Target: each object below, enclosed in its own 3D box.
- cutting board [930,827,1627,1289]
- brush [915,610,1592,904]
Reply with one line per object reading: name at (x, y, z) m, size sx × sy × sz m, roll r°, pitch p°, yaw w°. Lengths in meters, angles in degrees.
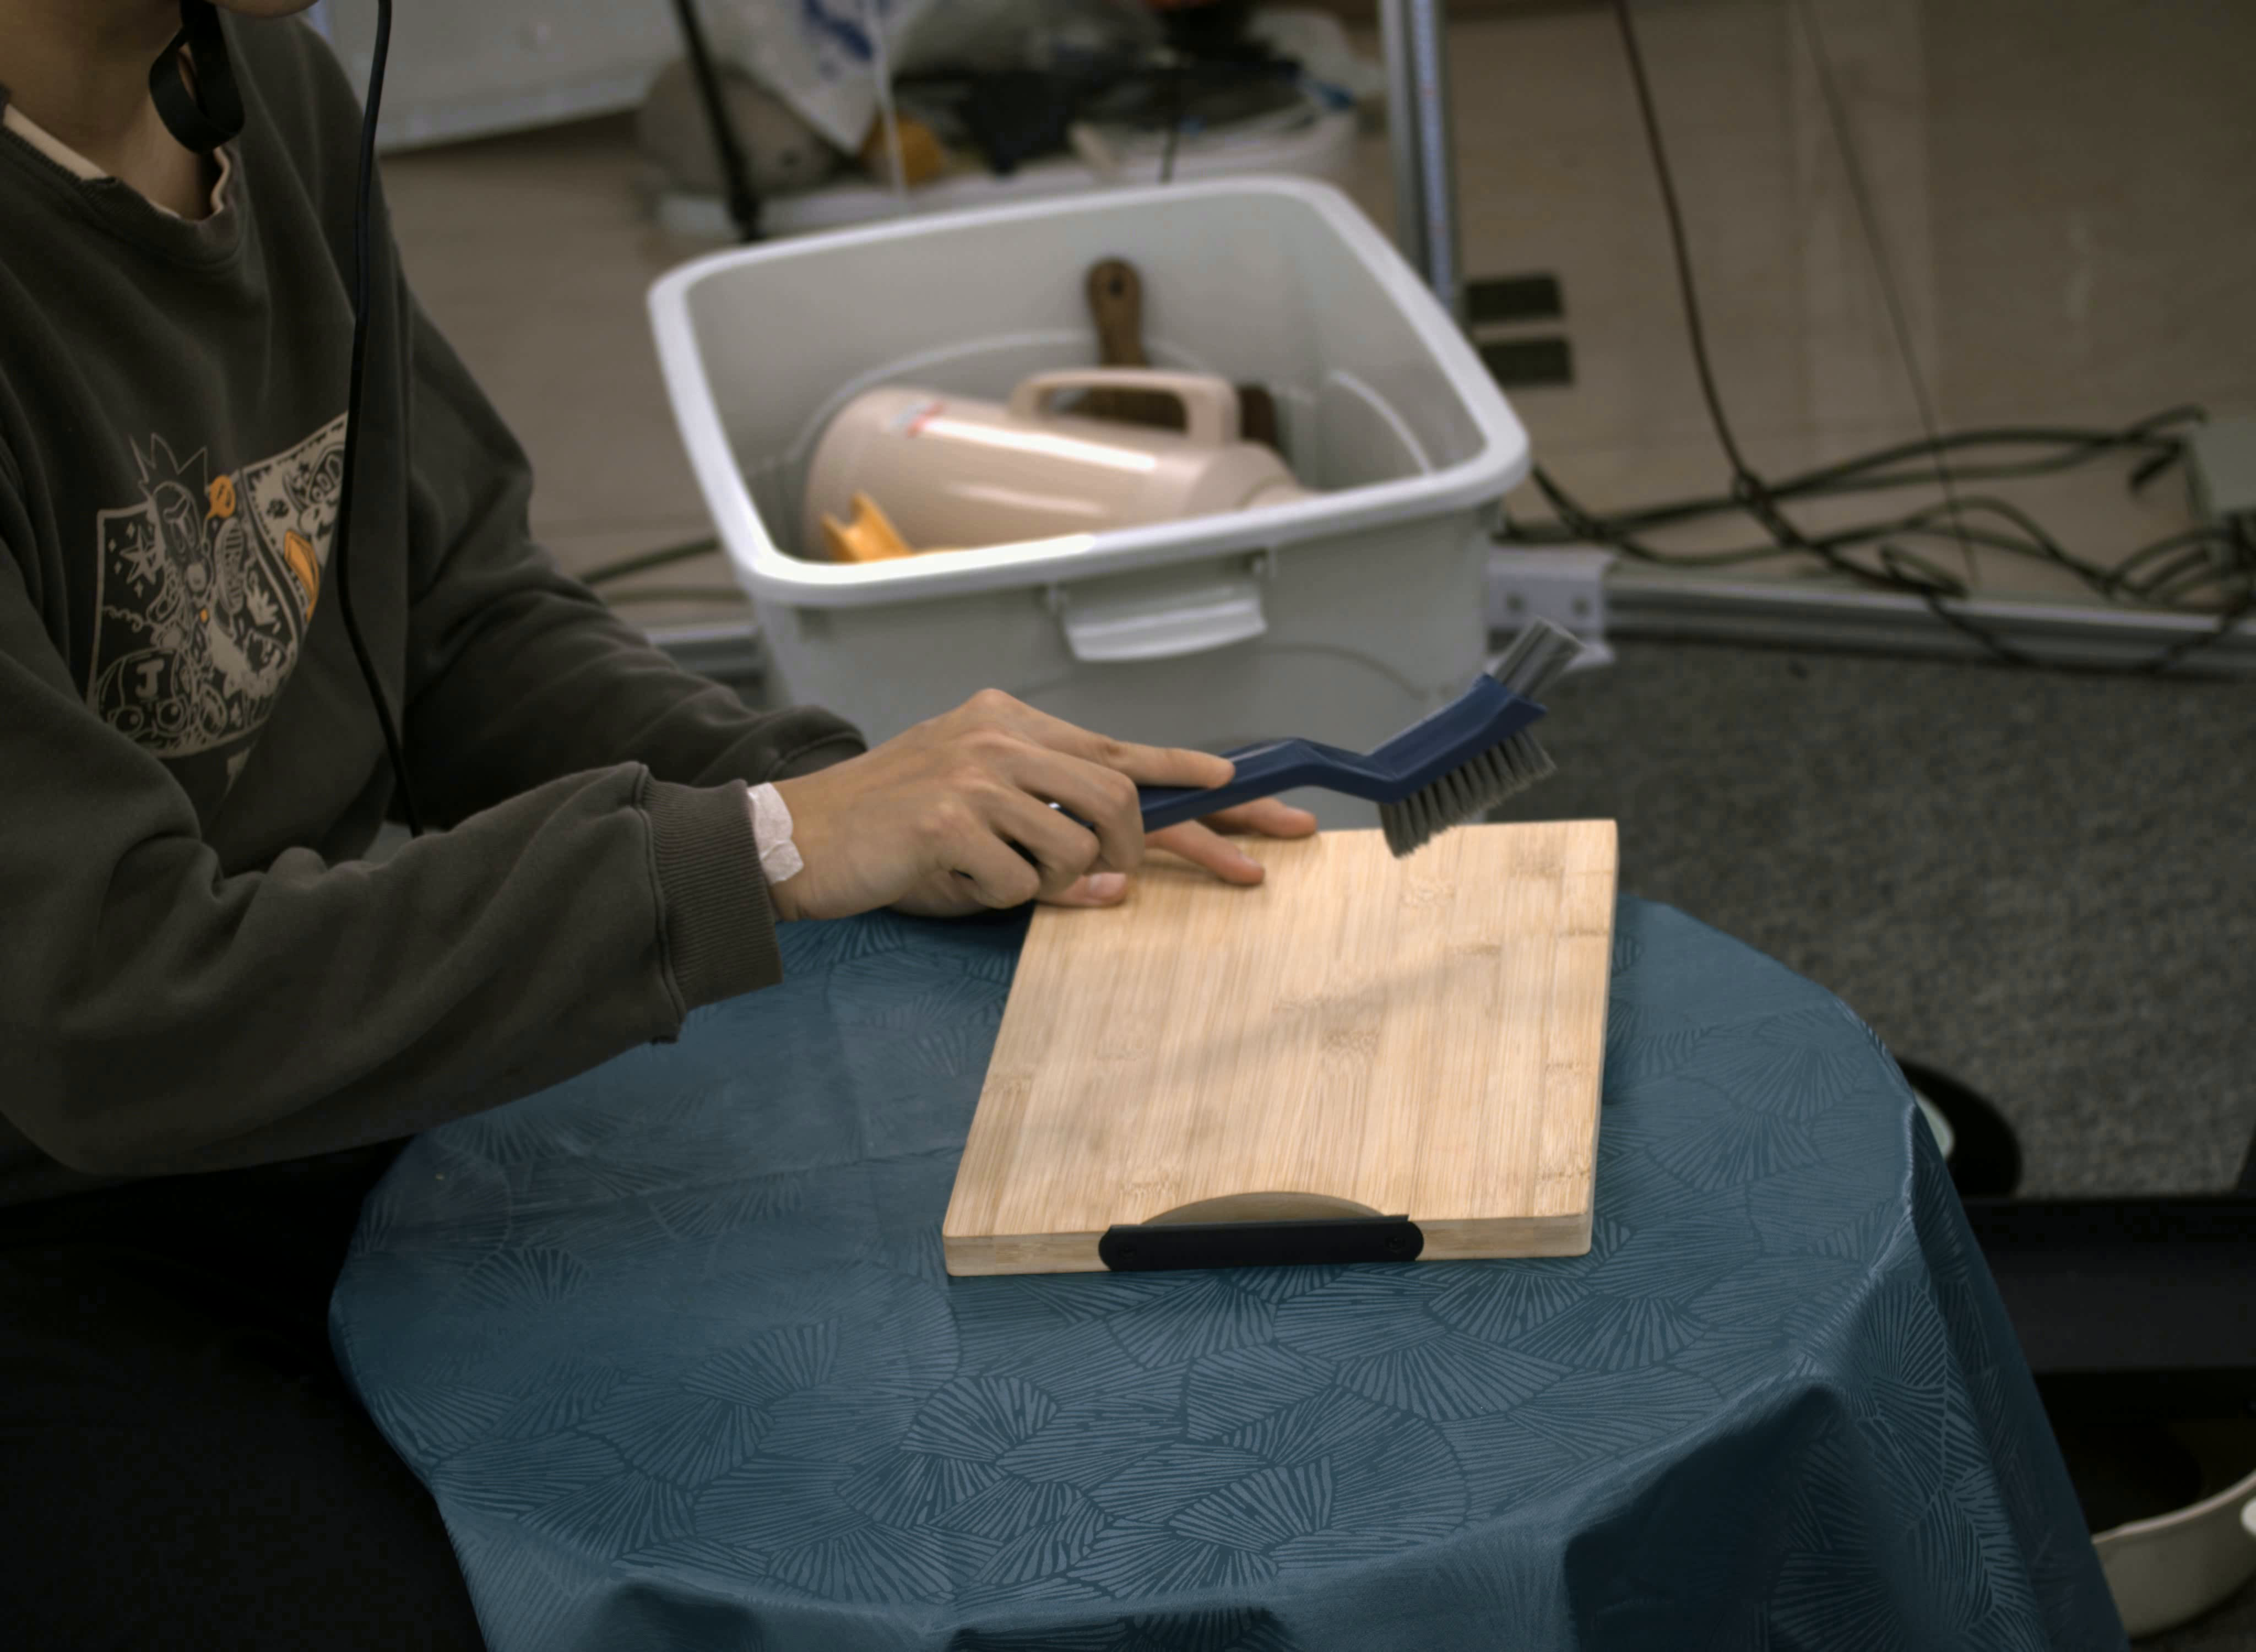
cutting board at (0.067, 0.085, 2.226) m, size 0.250 × 0.024 × 0.343 m, roll -4°, pitch 25°, yaw 8°
brush at (0.050, -0.024, 2.166) m, size 0.272 × 0.097 × 0.033 m, roll -9°, pitch 34°, yaw -27°
